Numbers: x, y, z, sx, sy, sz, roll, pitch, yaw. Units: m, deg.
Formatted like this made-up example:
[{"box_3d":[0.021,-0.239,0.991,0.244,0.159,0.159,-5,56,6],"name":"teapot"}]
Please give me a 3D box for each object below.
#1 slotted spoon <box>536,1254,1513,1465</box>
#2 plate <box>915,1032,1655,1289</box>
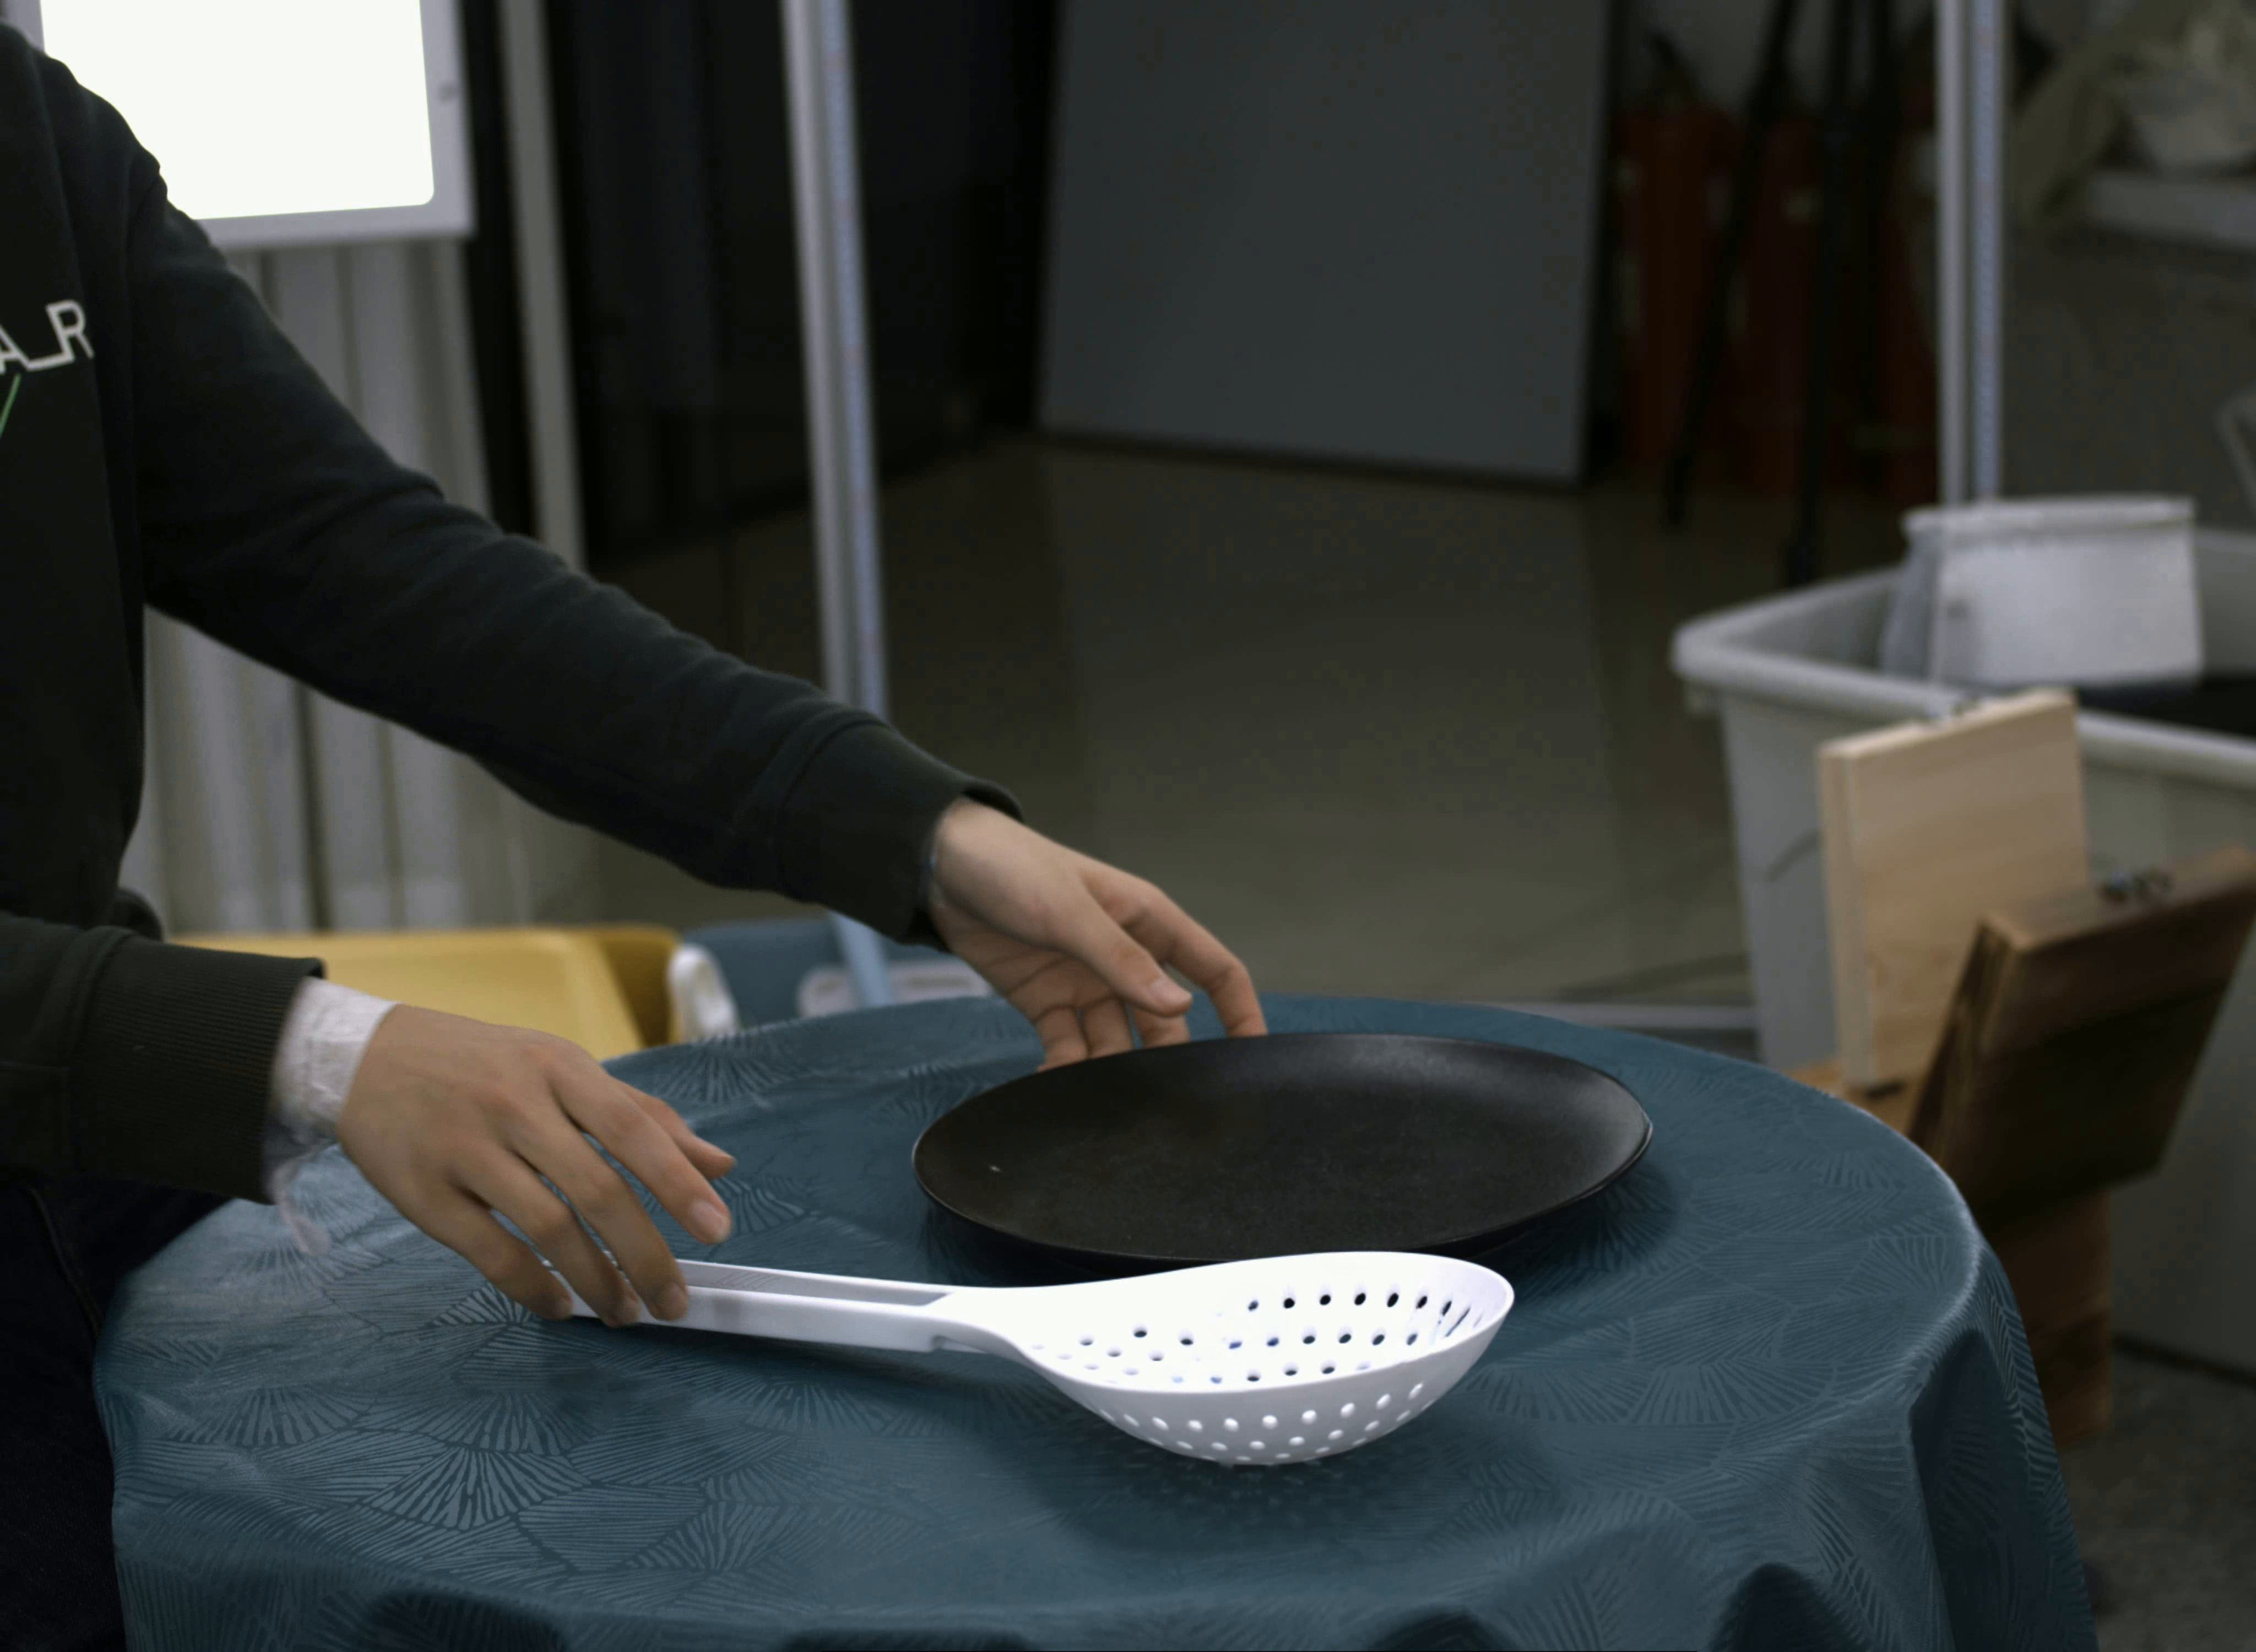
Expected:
[{"box_3d":[-0.042,0.146,1.589,0.352,0.046,0.133,6,15,38],"name":"slotted spoon"},{"box_3d":[0.051,0.111,1.747,0.241,0.024,0.245,-4,14,0],"name":"plate"}]
